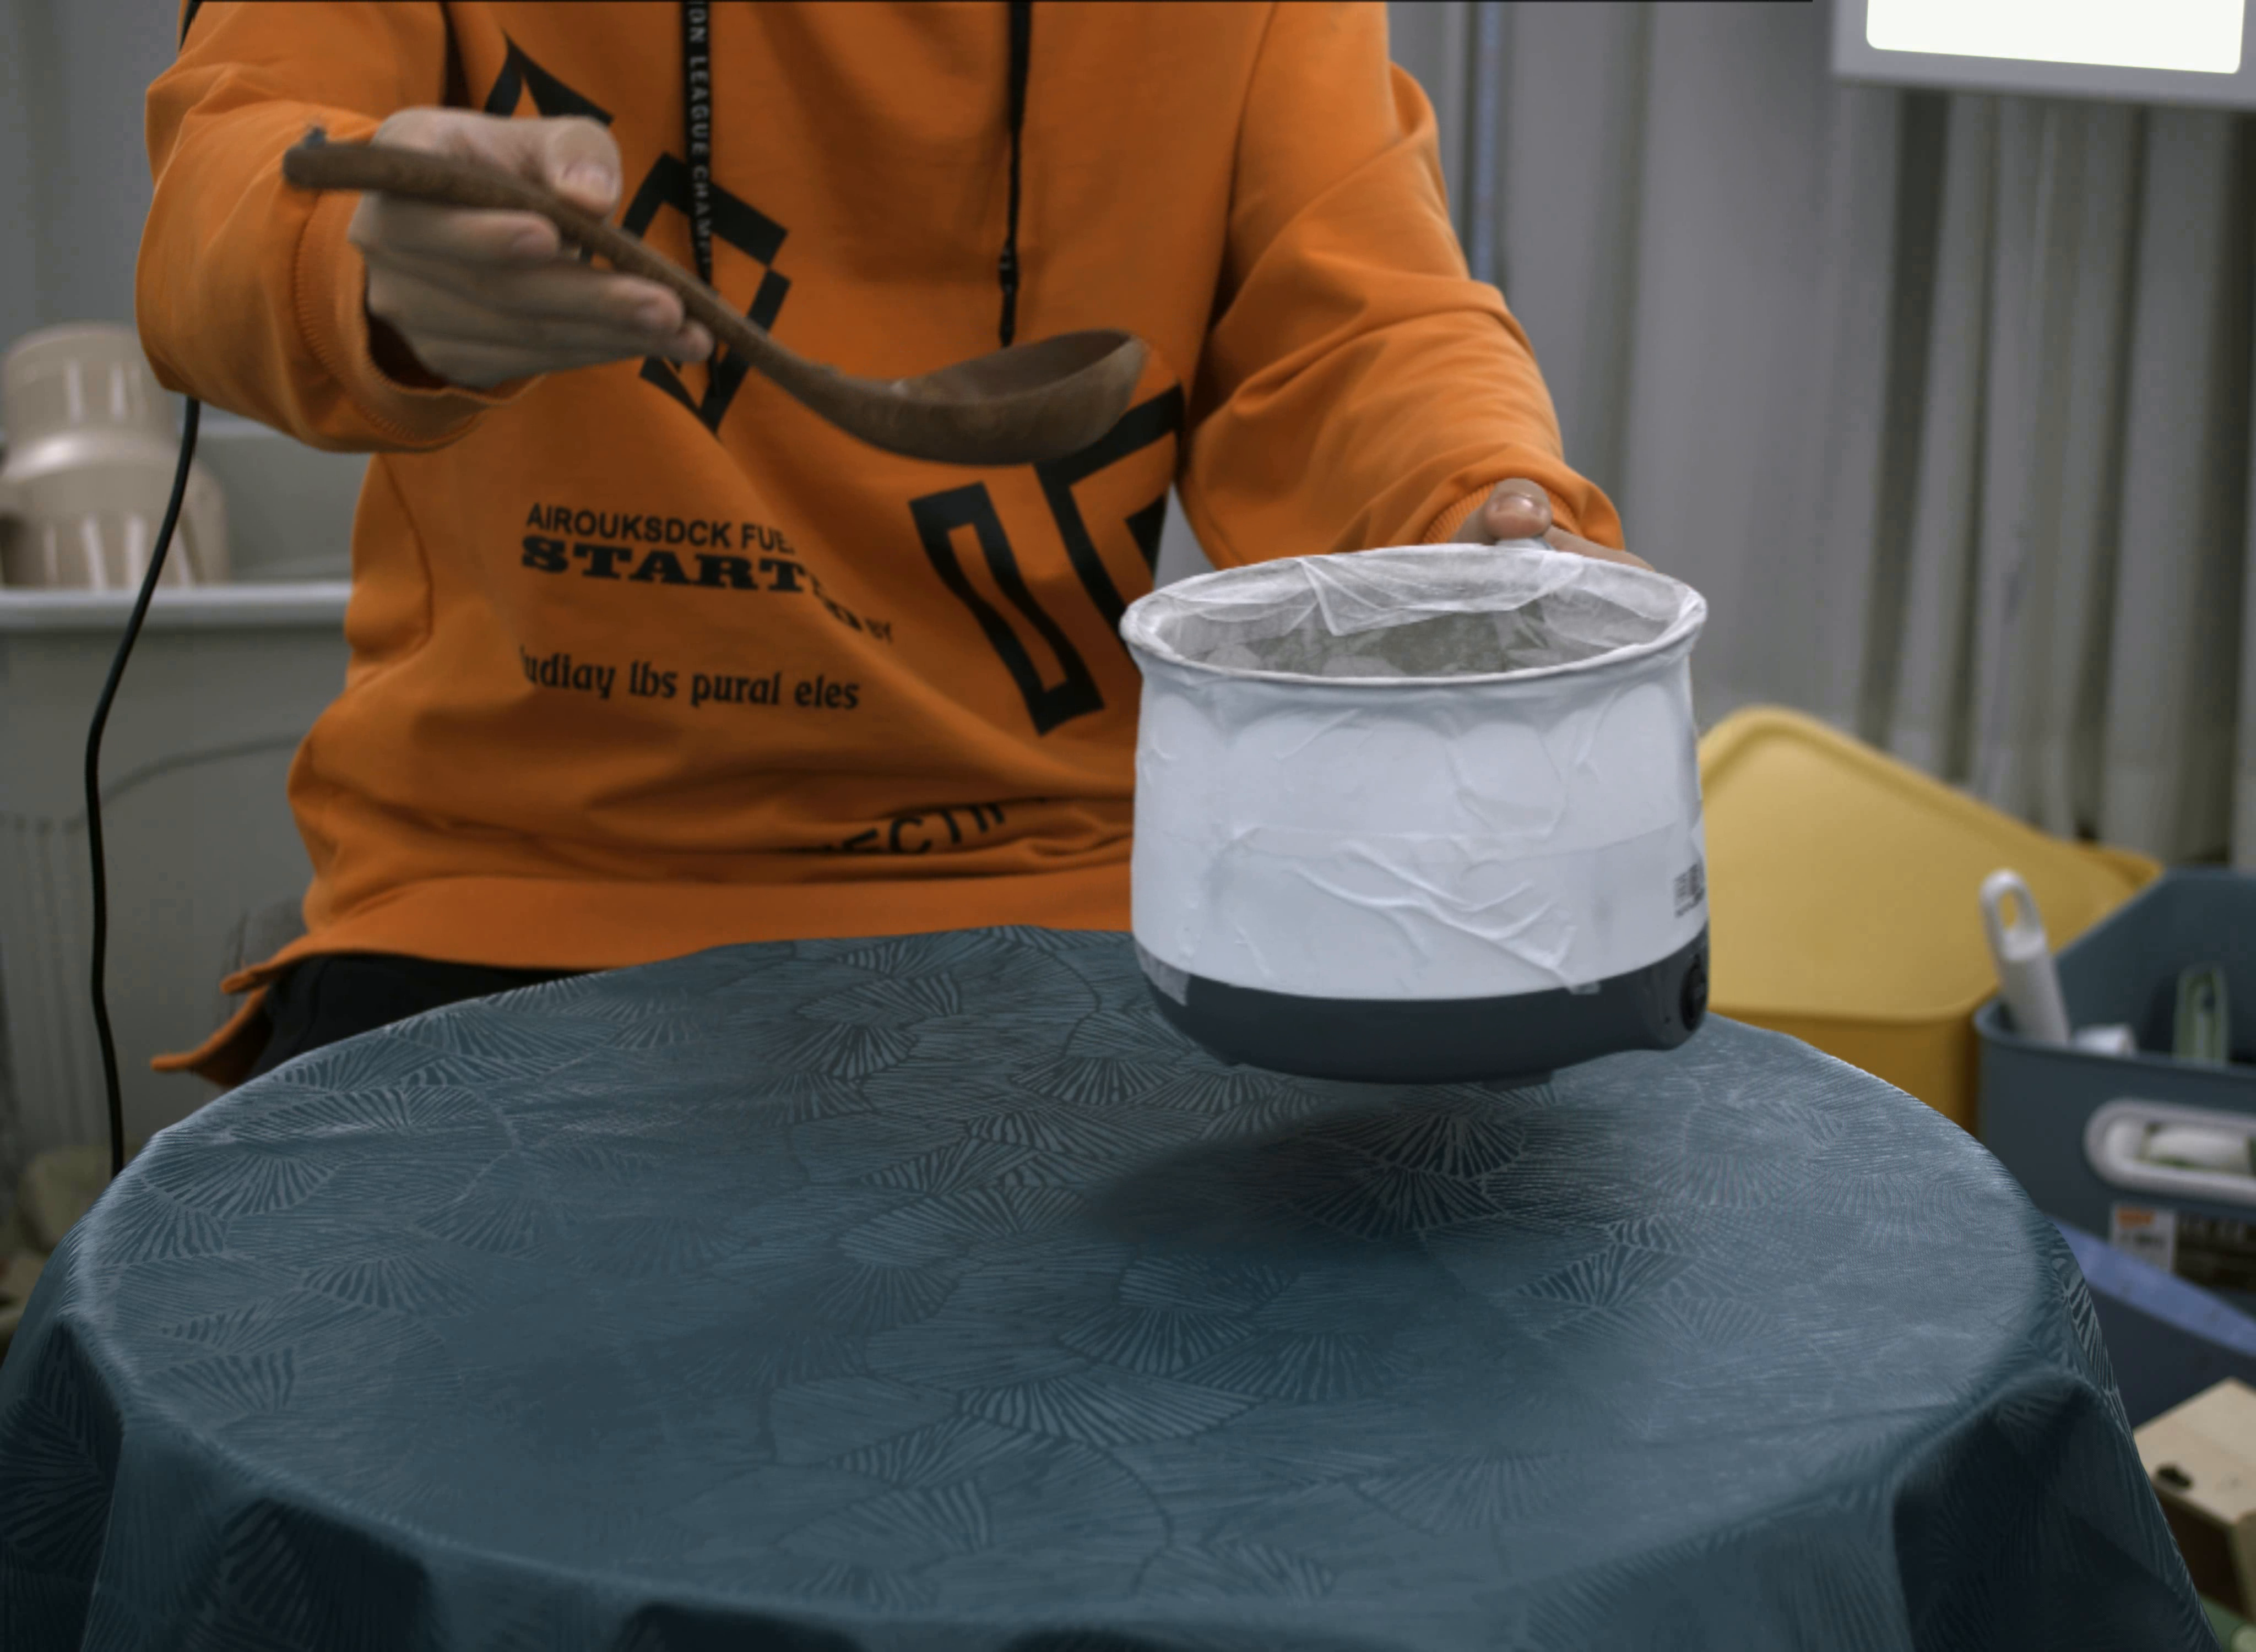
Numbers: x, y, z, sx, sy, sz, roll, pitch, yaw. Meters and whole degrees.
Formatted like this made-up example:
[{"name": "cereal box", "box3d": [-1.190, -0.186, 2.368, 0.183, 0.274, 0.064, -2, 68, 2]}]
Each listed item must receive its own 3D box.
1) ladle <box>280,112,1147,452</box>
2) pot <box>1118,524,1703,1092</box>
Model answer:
[{"name": "ladle", "box3d": [-0.117, -0.171, 1.531, 0.261, 0.065, 0.076, 24, 1, -18]}, {"name": "pot", "box3d": [0.097, -0.012, 1.629, 0.177, 0.138, 0.234, 5, 17, 21]}]
